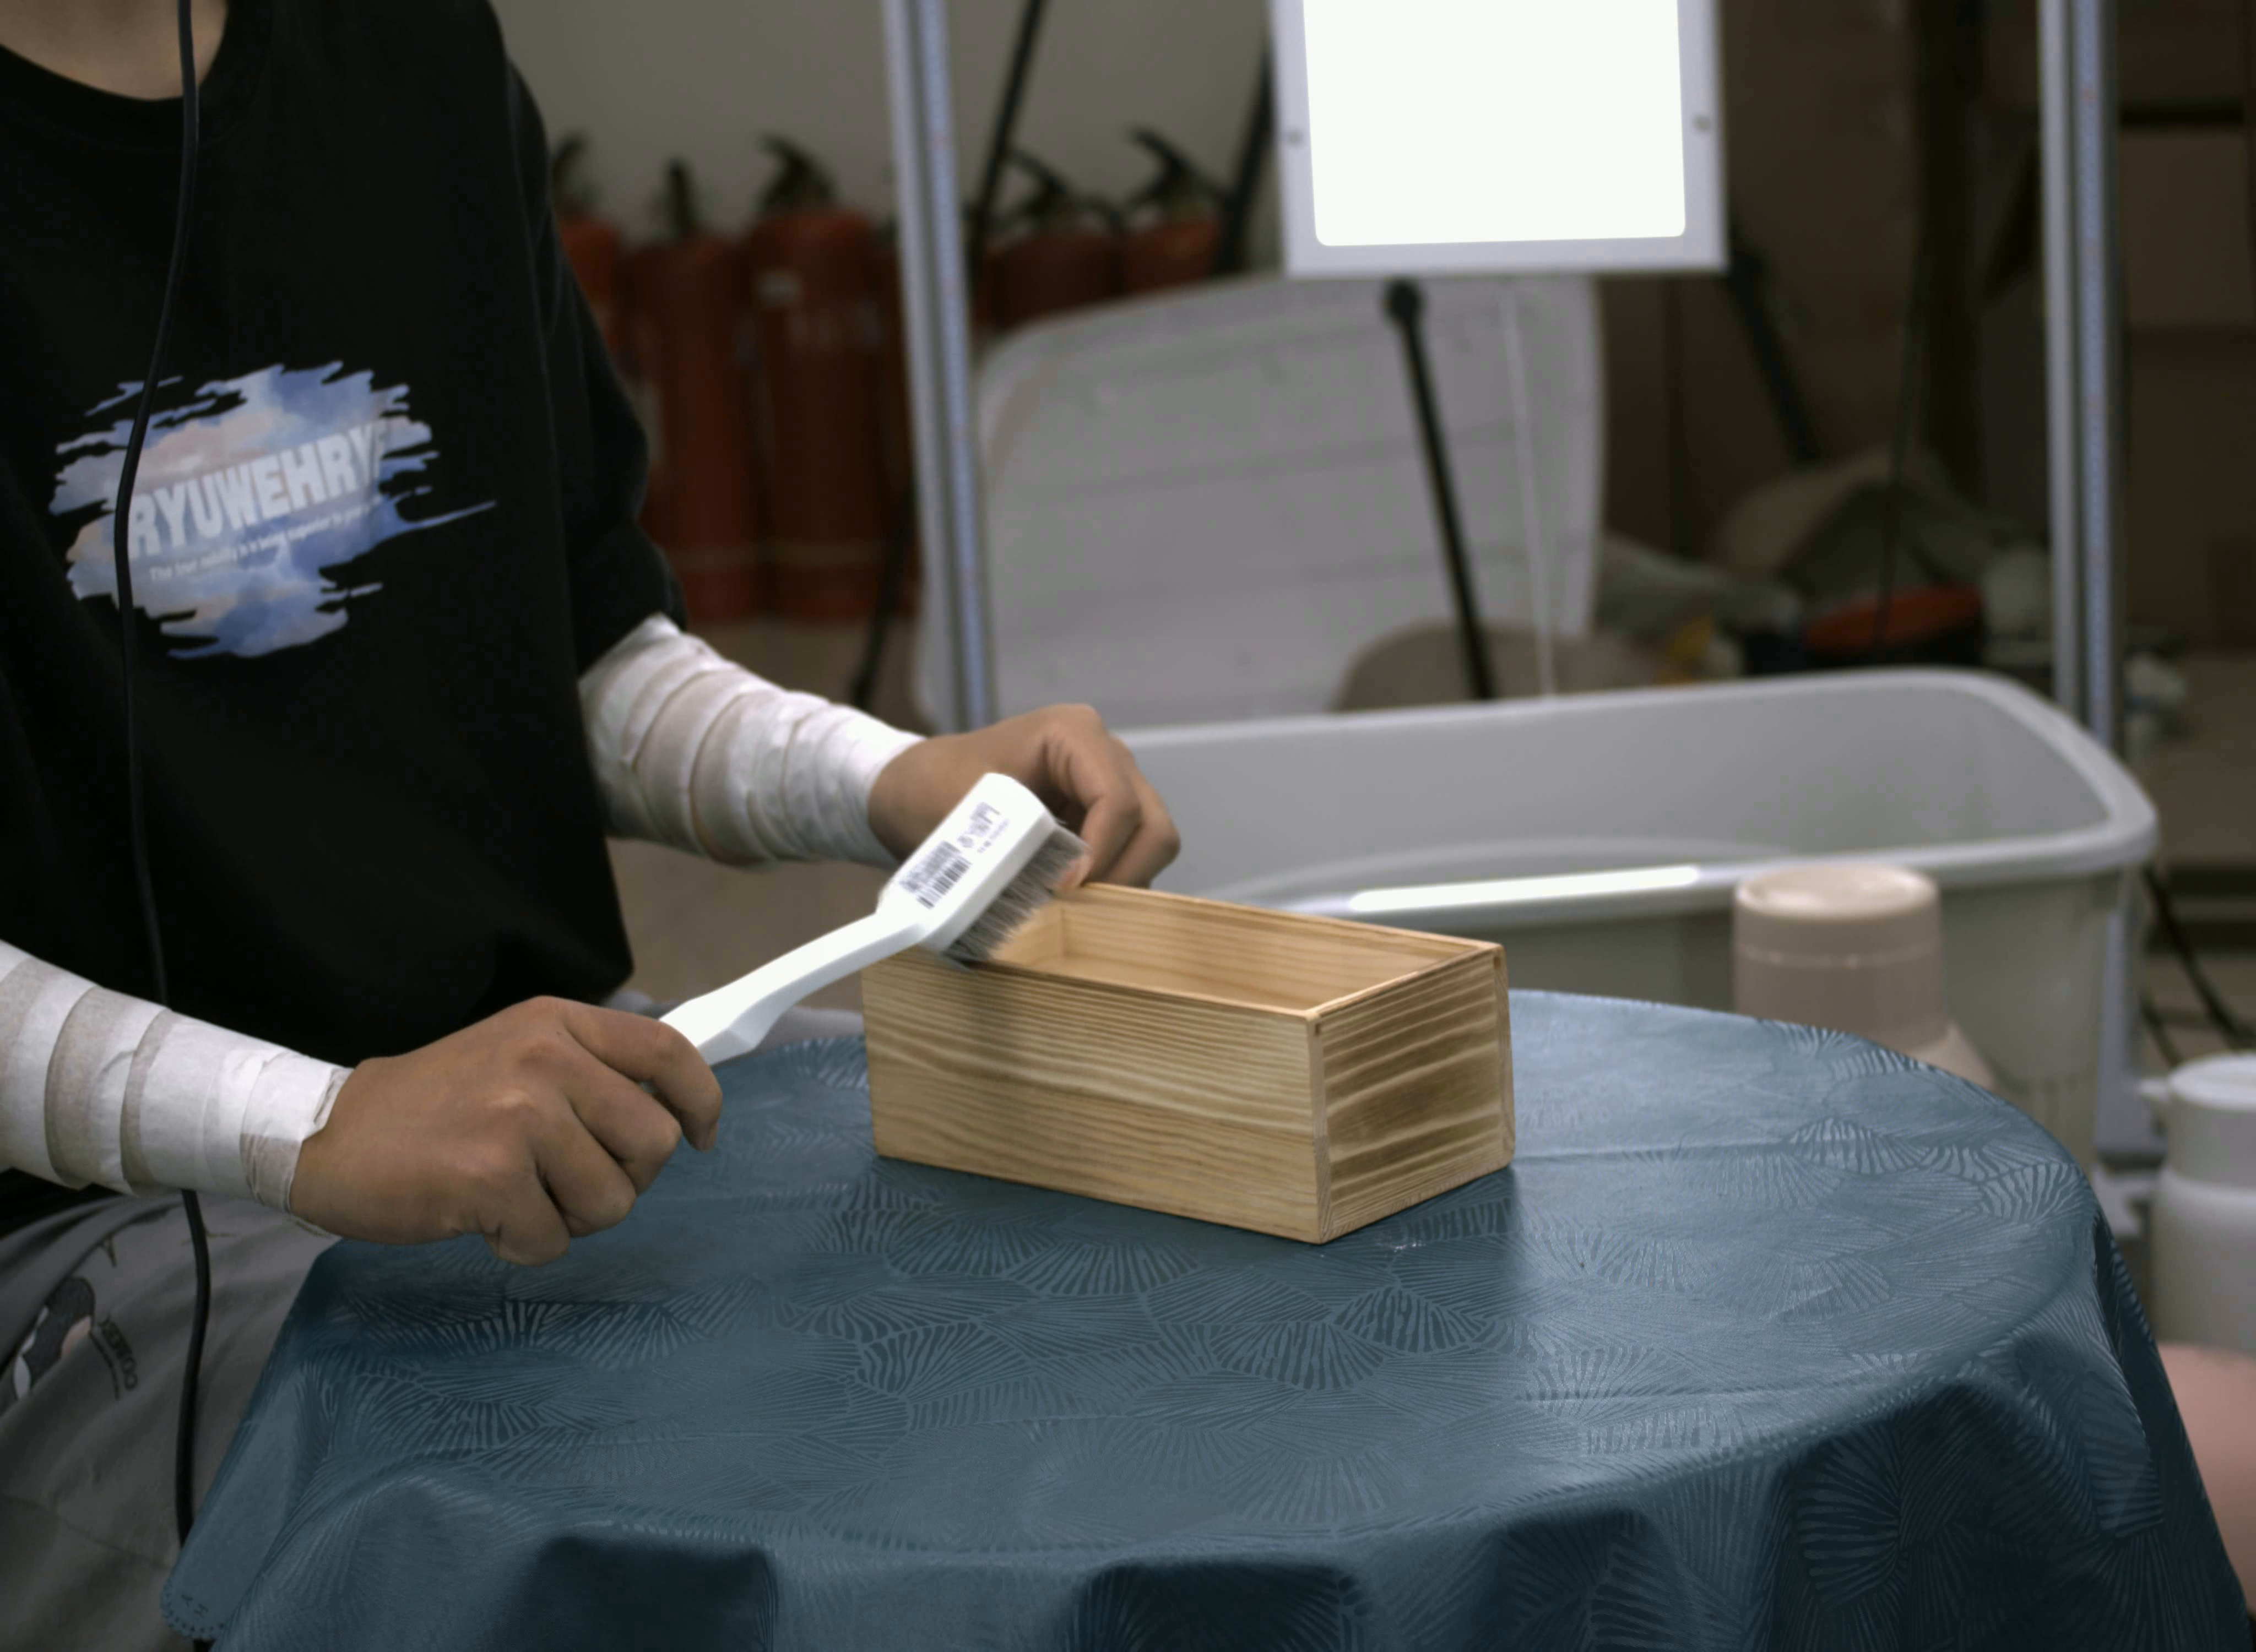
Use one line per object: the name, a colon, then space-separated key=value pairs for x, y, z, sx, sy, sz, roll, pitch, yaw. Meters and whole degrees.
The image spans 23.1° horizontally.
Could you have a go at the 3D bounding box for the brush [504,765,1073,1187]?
brush: x=-0.113 y=0.061 z=1.877 sx=0.239 sy=0.050 sz=0.035 roll=-39 pitch=46 yaw=-24

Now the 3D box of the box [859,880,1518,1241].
box: x=0.020 y=0.079 z=1.919 sx=0.216 sy=0.080 sz=0.105 roll=7 pitch=18 yaw=43
